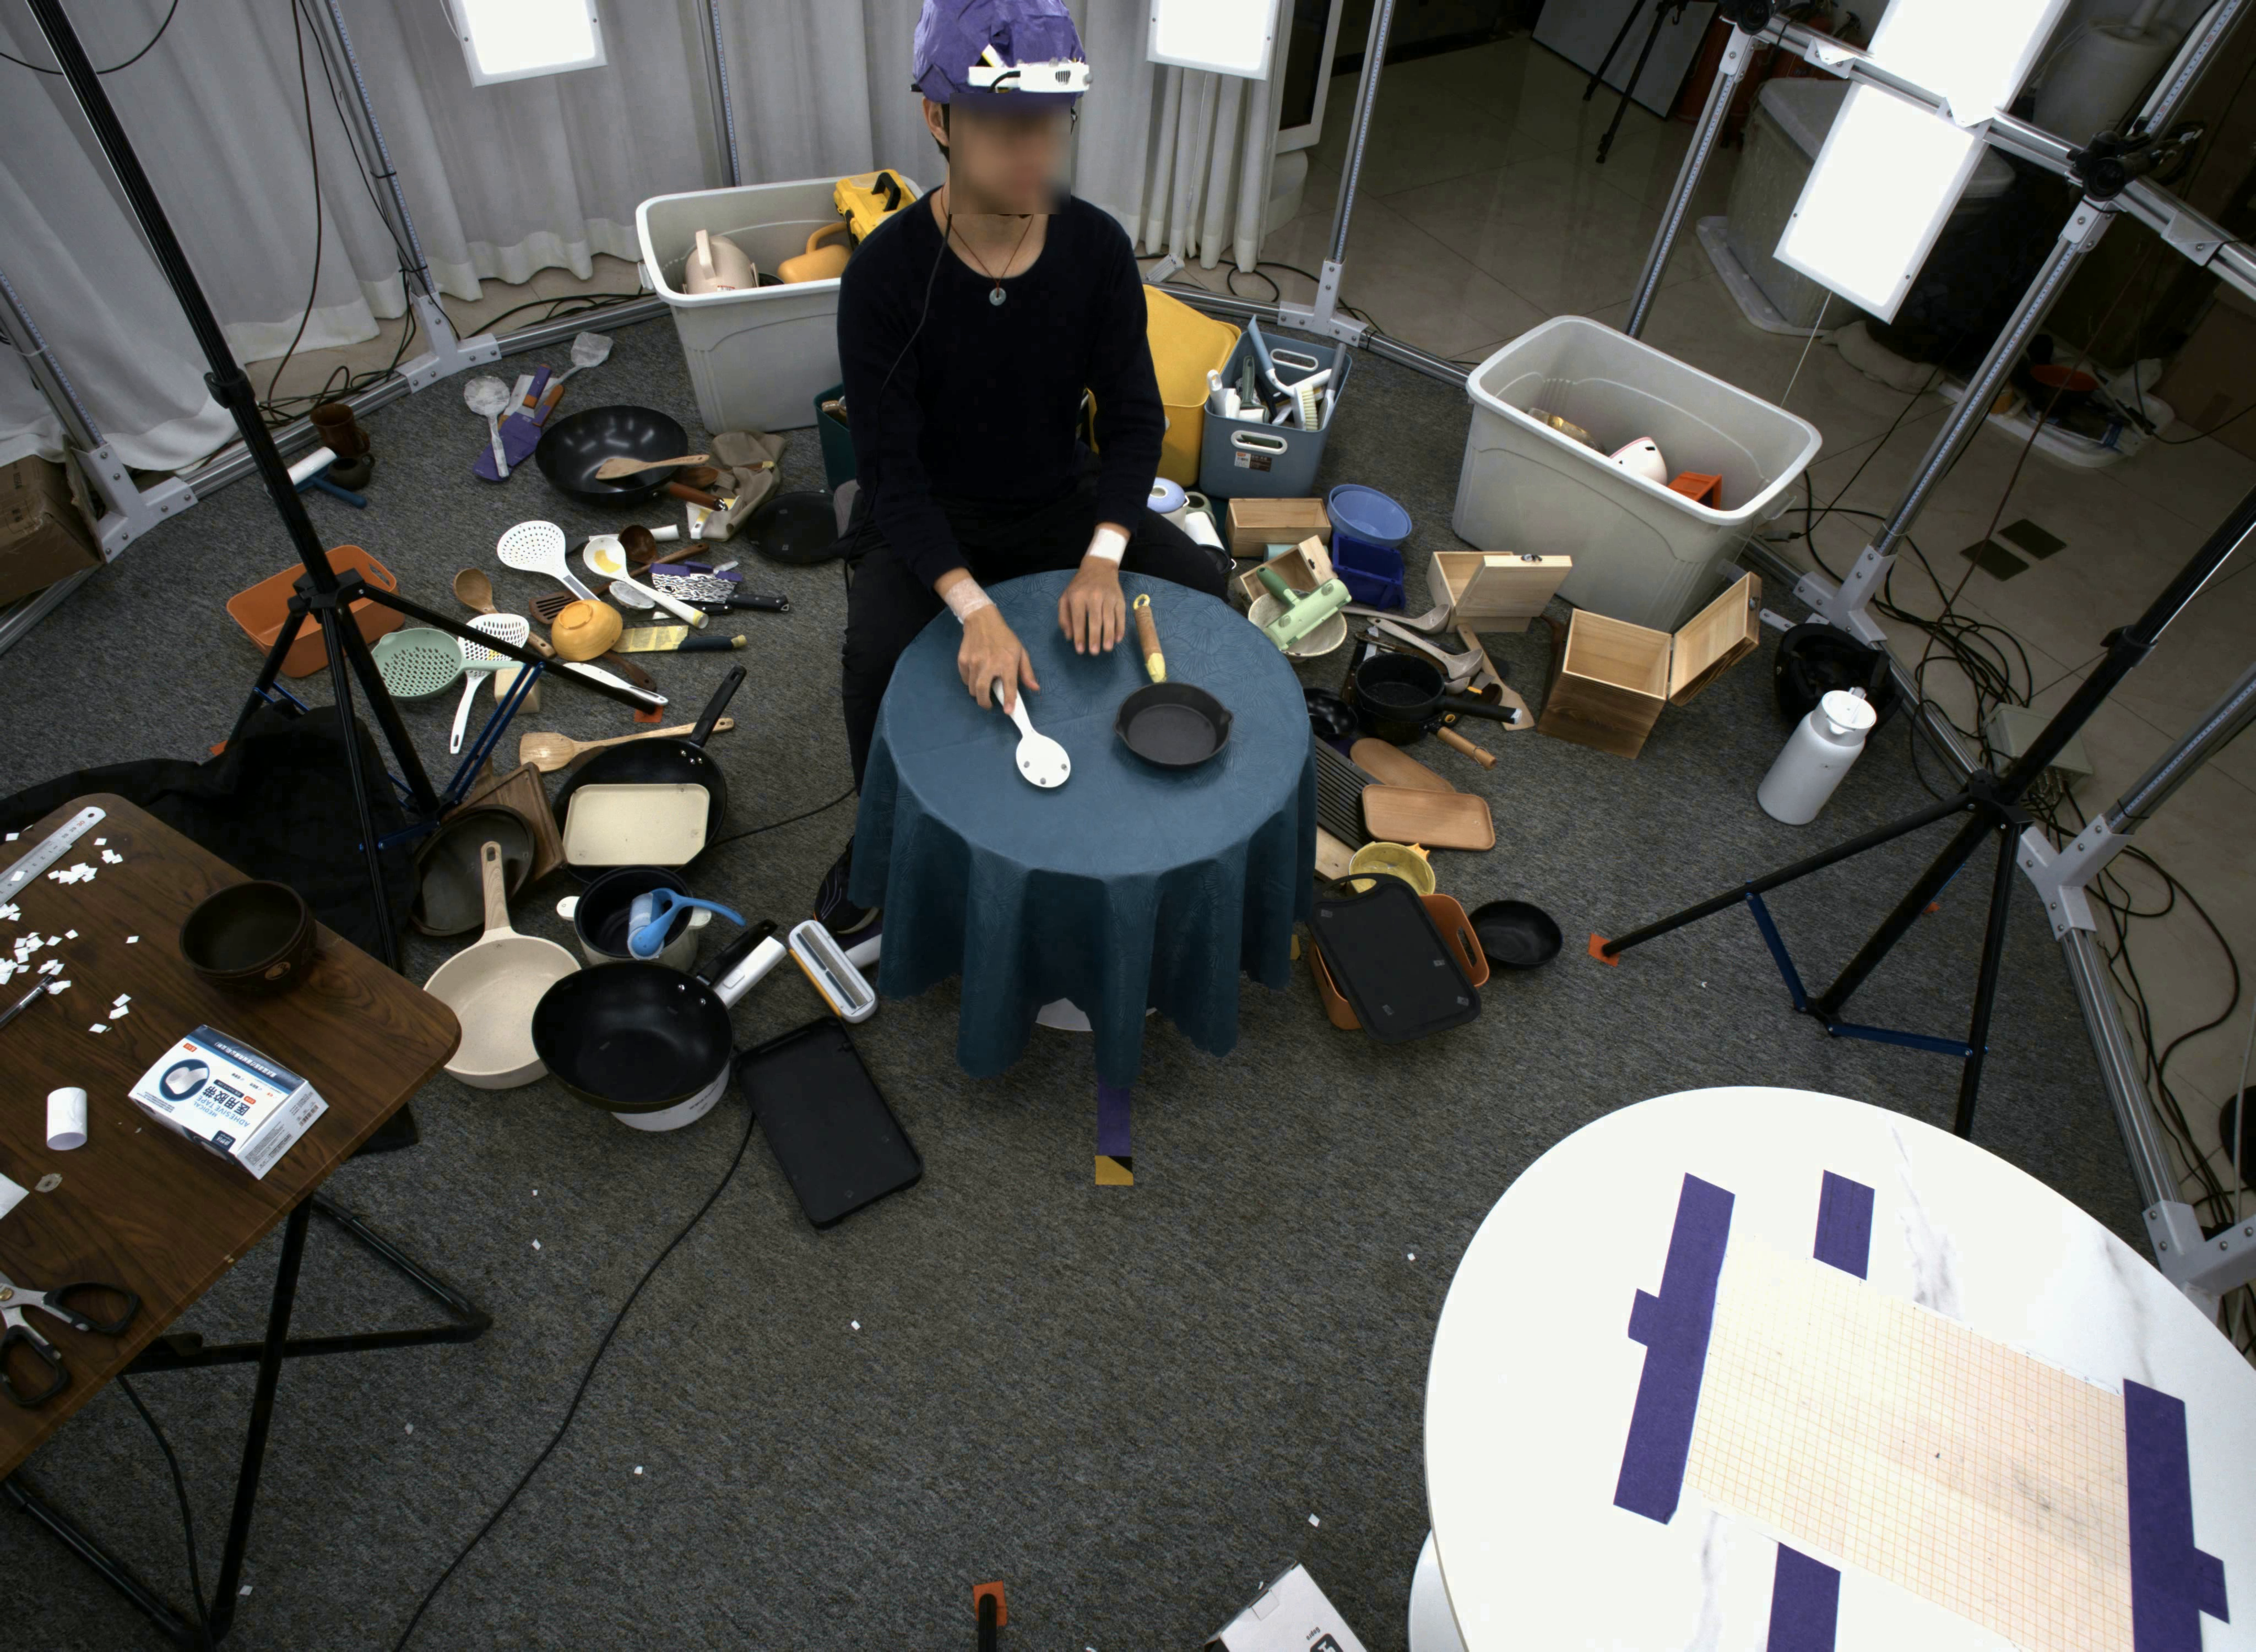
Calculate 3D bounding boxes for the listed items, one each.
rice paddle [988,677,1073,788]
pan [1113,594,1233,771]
[{"bbox_3d":[-0.137,-0.127,1.755,0.069,0.029,0.210,-13,52,-27],"label":"rice paddle"},{"bbox_3d":[0.048,-0.204,1.816,0.169,0.048,0.332,-5,51,-8],"label":"pan"}]
